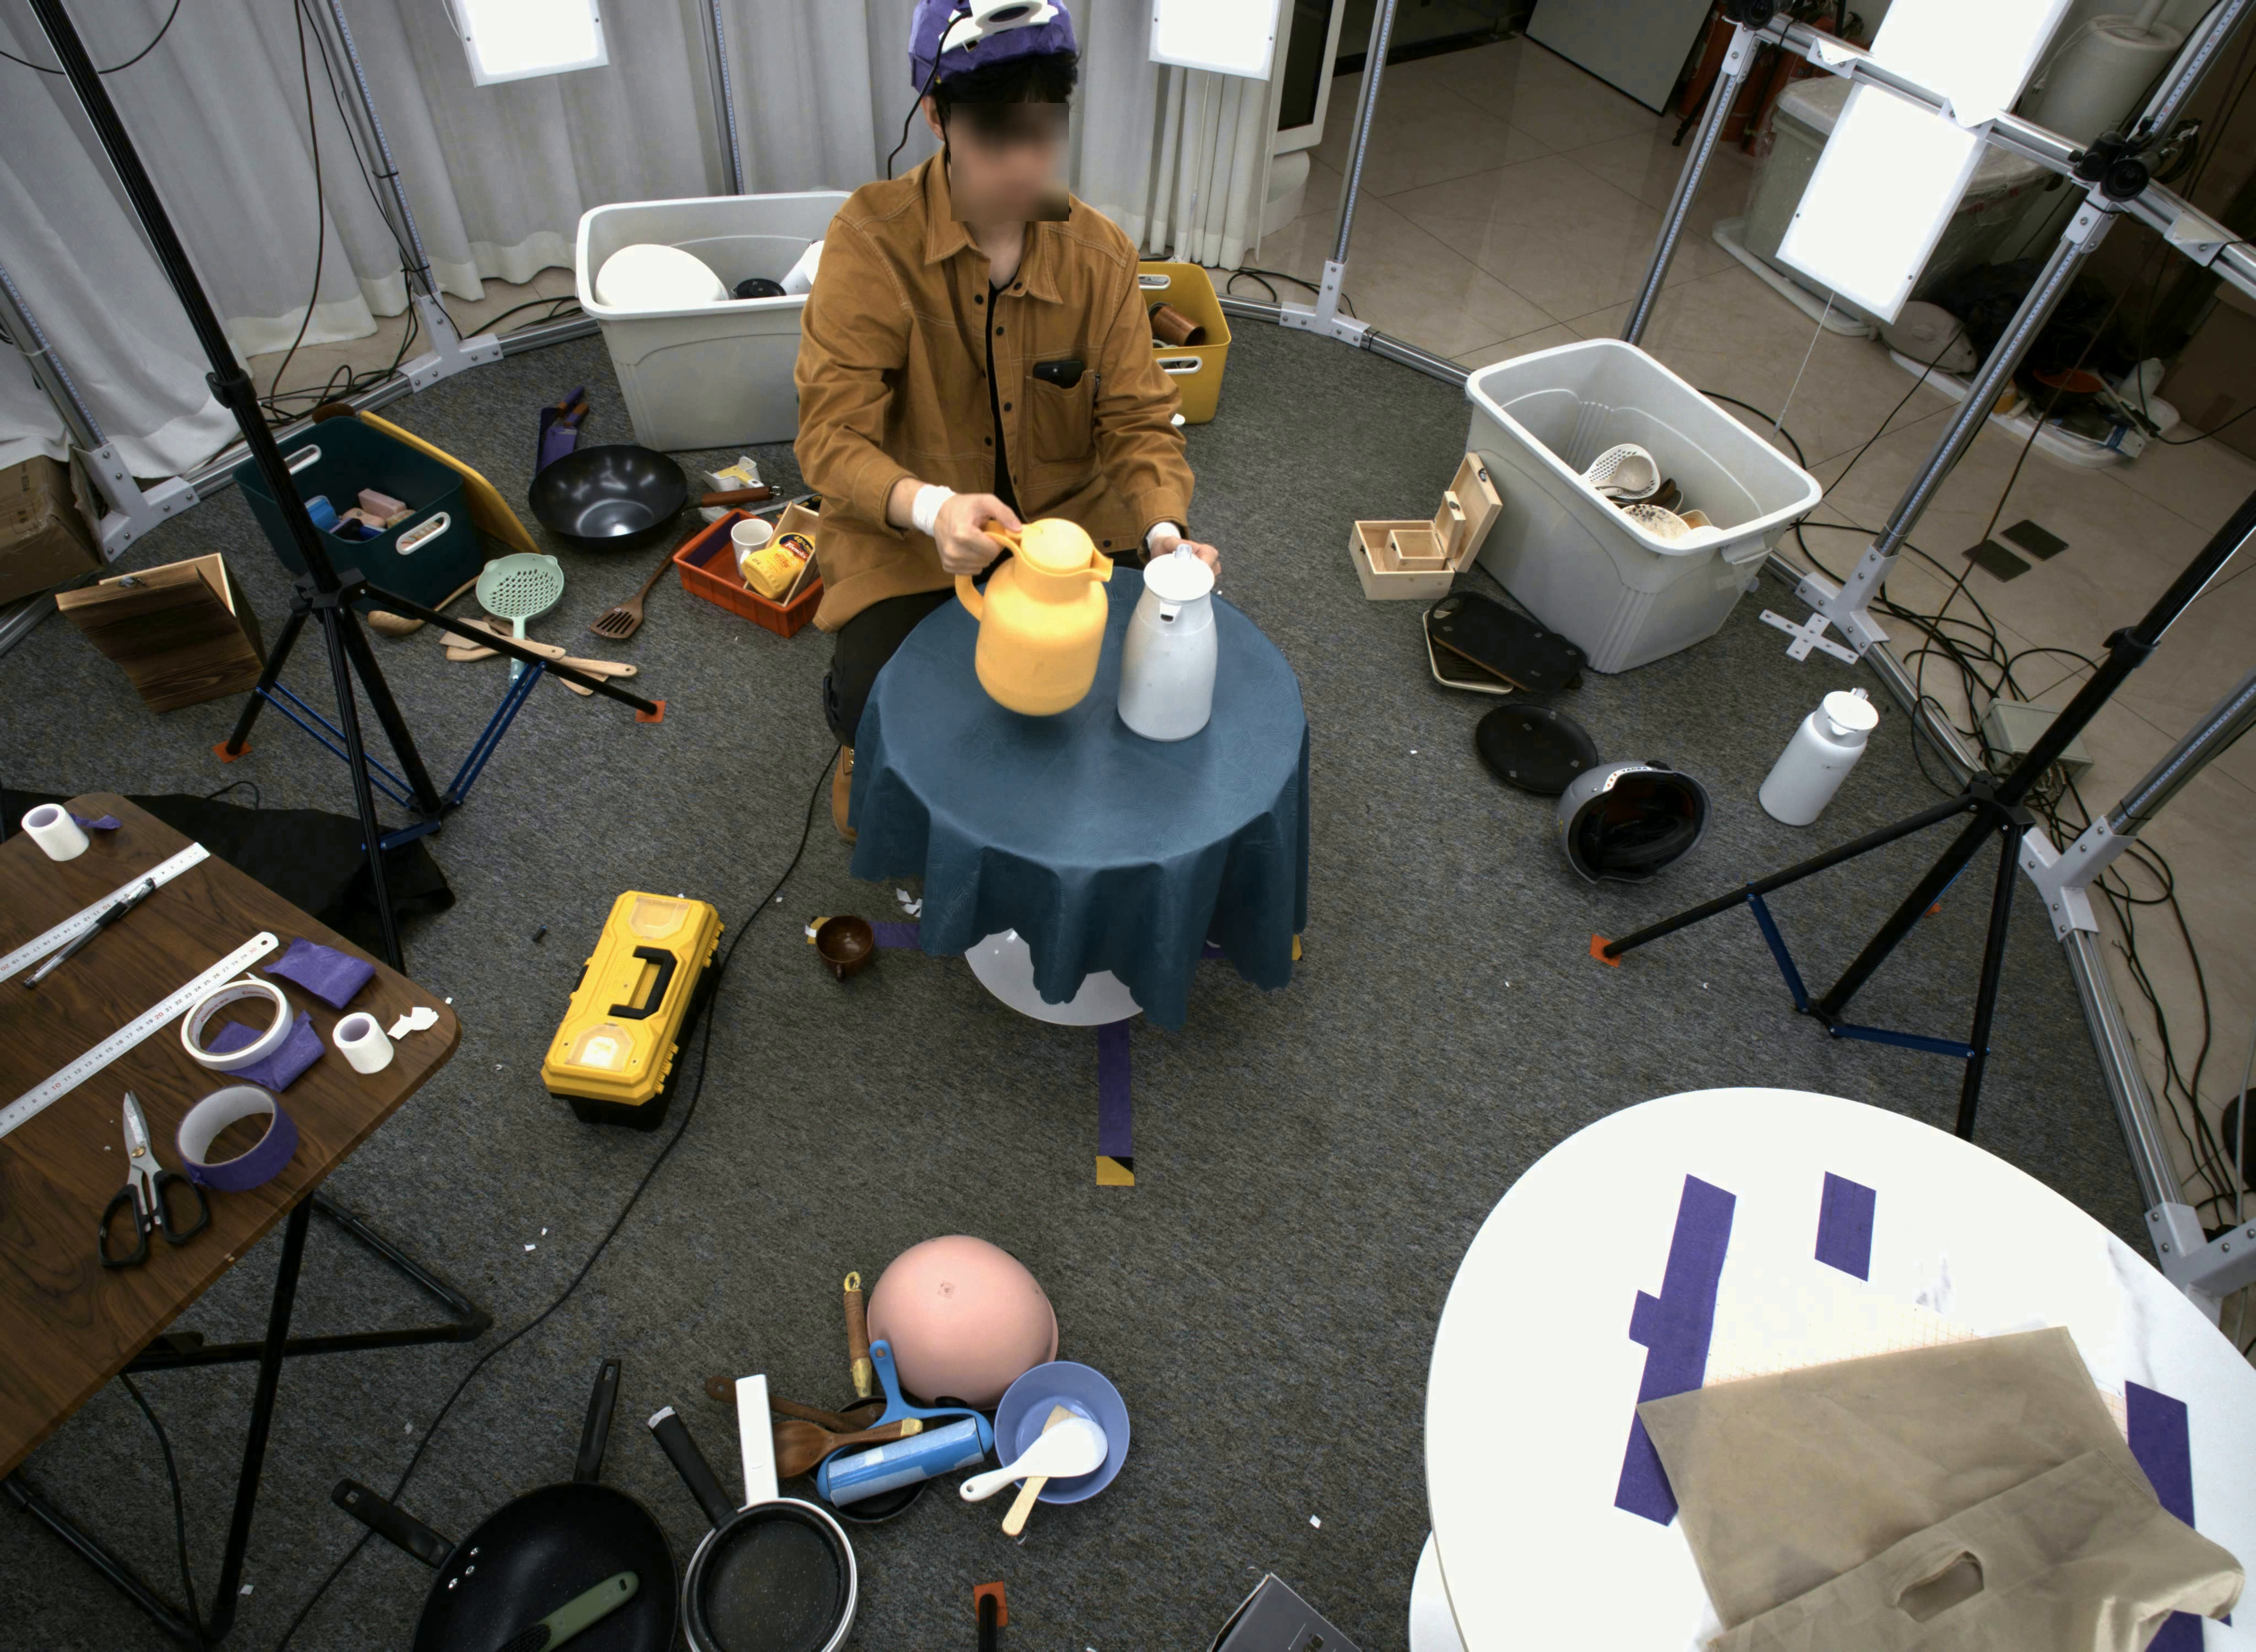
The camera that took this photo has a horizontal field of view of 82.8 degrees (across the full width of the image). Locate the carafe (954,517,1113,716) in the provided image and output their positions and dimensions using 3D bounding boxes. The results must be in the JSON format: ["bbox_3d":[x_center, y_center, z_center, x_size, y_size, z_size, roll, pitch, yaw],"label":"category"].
[{"bbox_3d":[-0.126,-0.281,1.651,0.203,0.255,0.167,22,50,4],"label":"carafe"}]

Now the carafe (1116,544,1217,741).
[{"bbox_3d":[0.060,-0.260,1.738,0.133,0.242,0.171,12,49,6],"label":"carafe"}]
